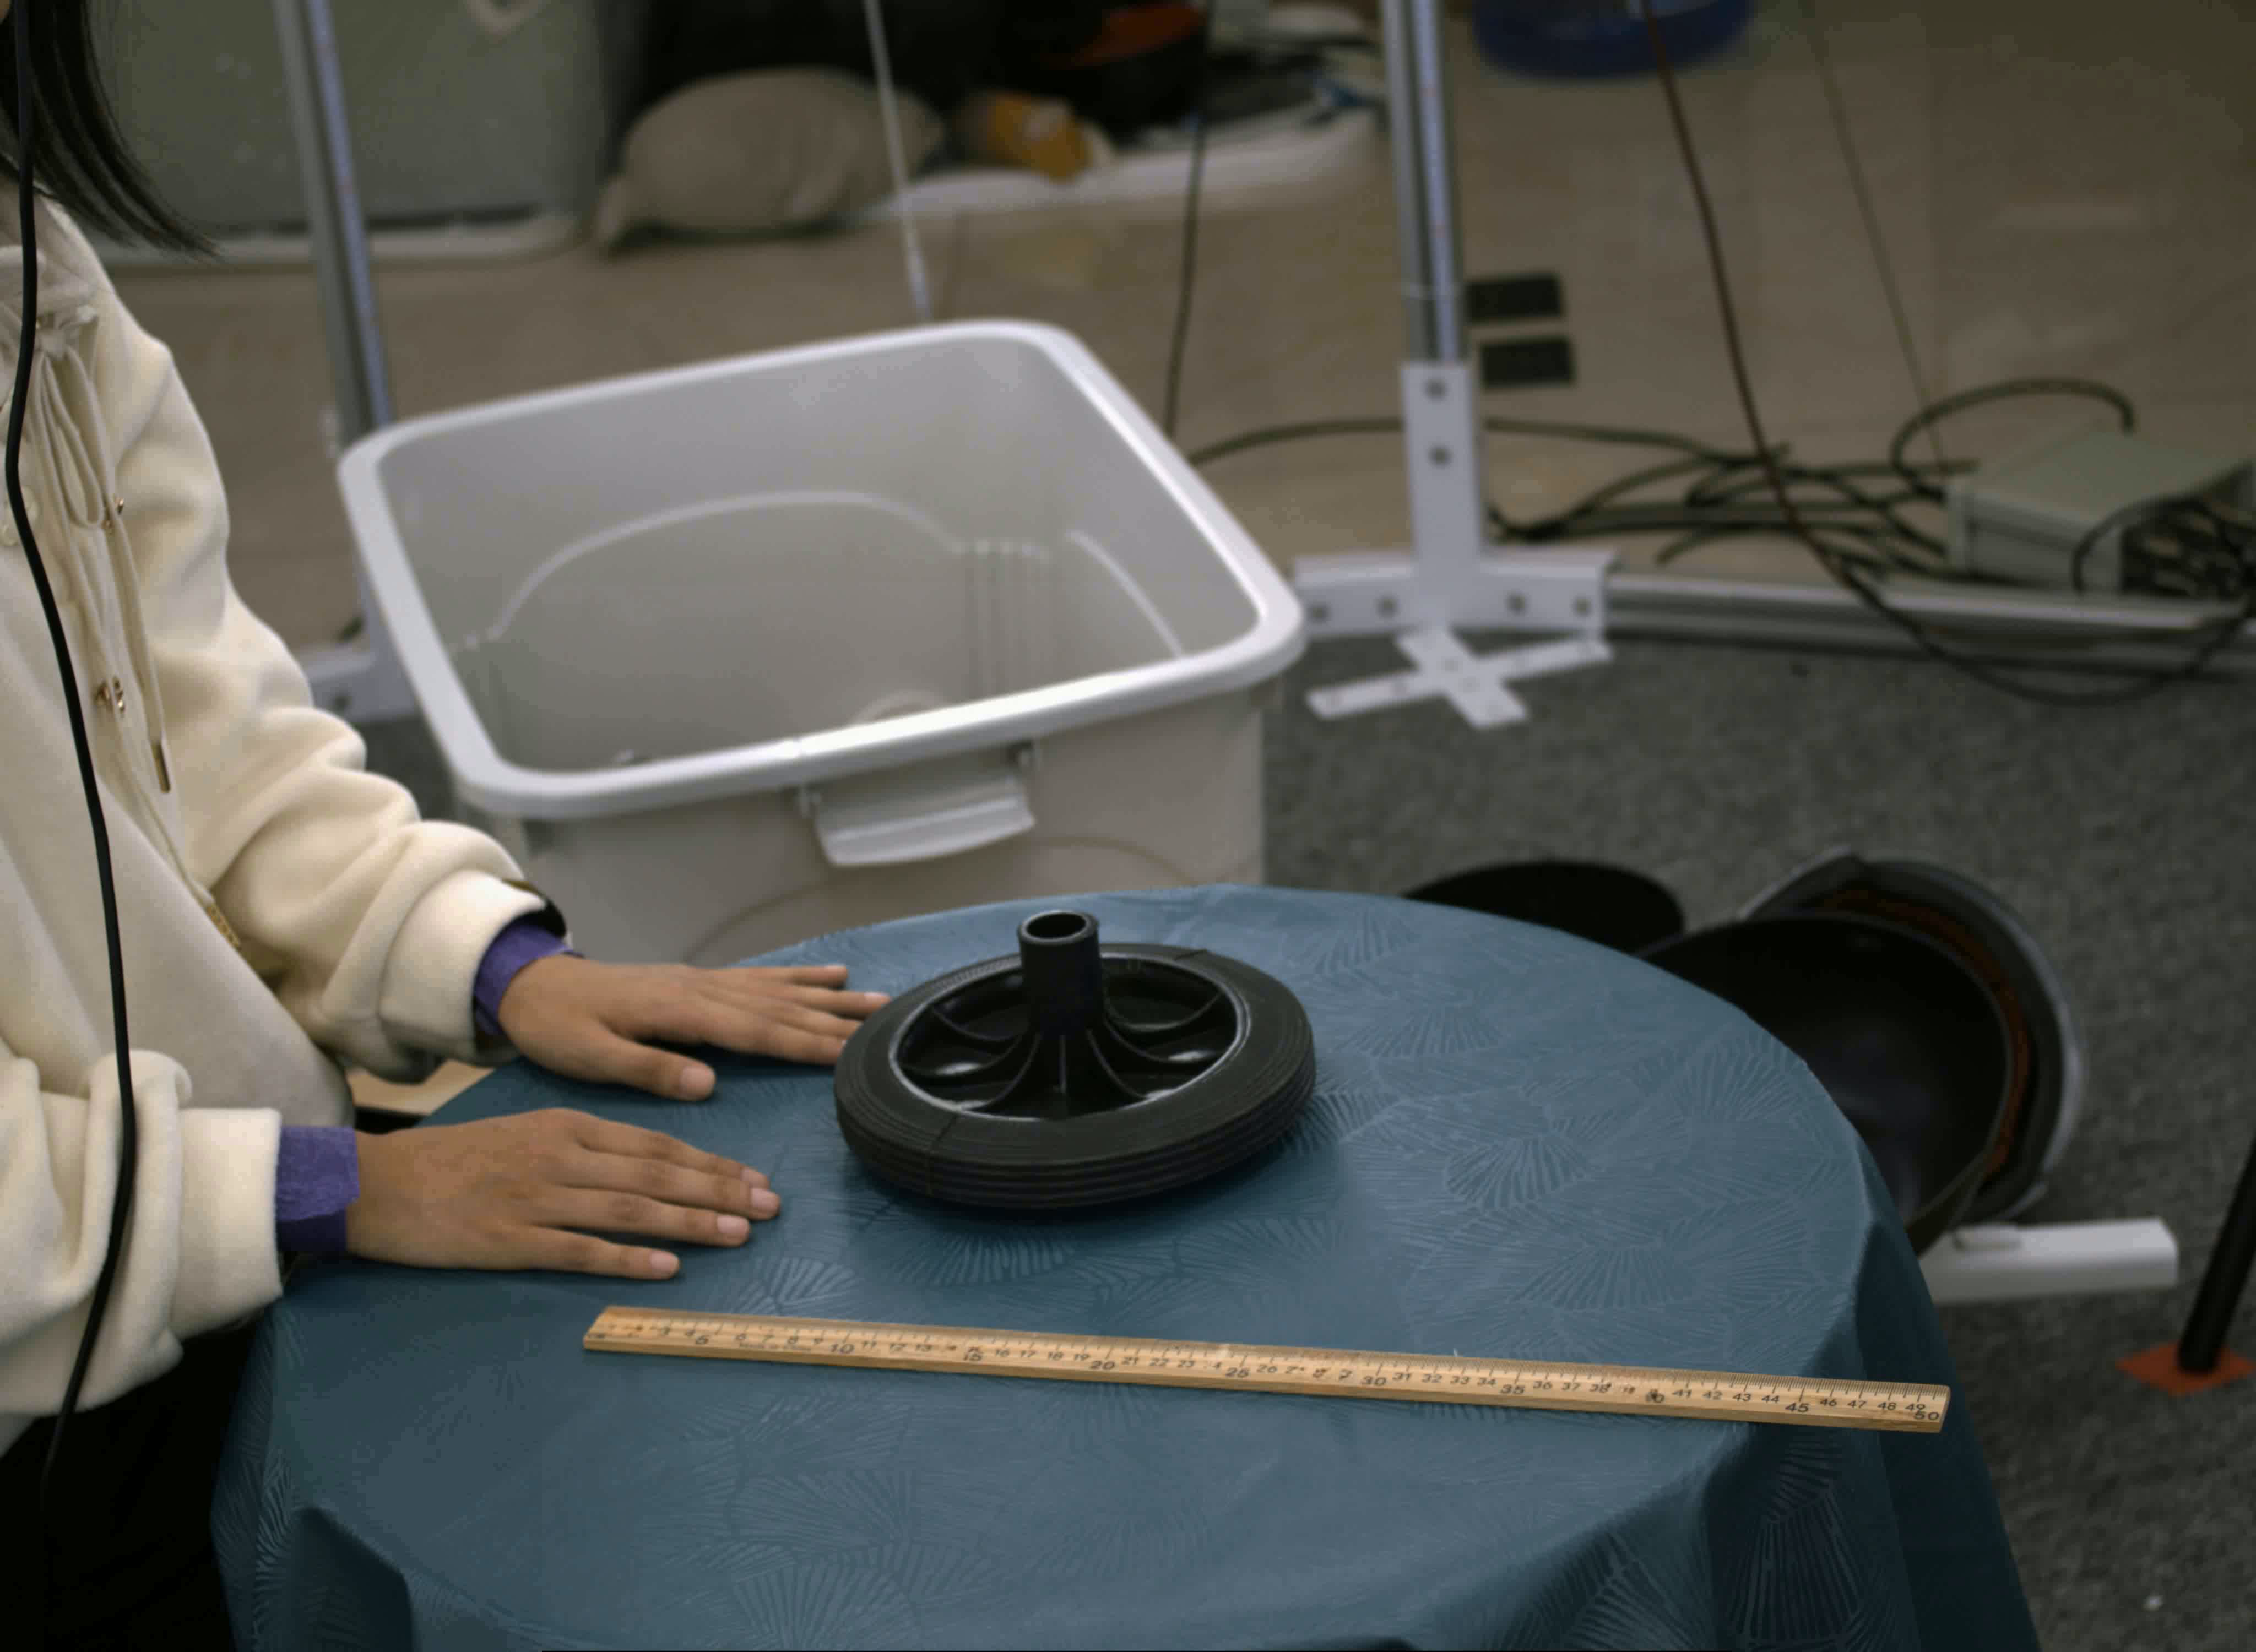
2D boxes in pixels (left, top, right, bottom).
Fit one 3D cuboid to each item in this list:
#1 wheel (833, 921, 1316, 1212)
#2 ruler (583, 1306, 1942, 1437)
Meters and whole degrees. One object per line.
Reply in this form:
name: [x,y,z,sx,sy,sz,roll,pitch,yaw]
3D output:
wheel: [-0.023,0.079,2.192,0.187,0.080,0.187,-13,25,-14]
ruler: [0.039,0.193,2.017,0.499,0.006,0.026,2,27,18]
